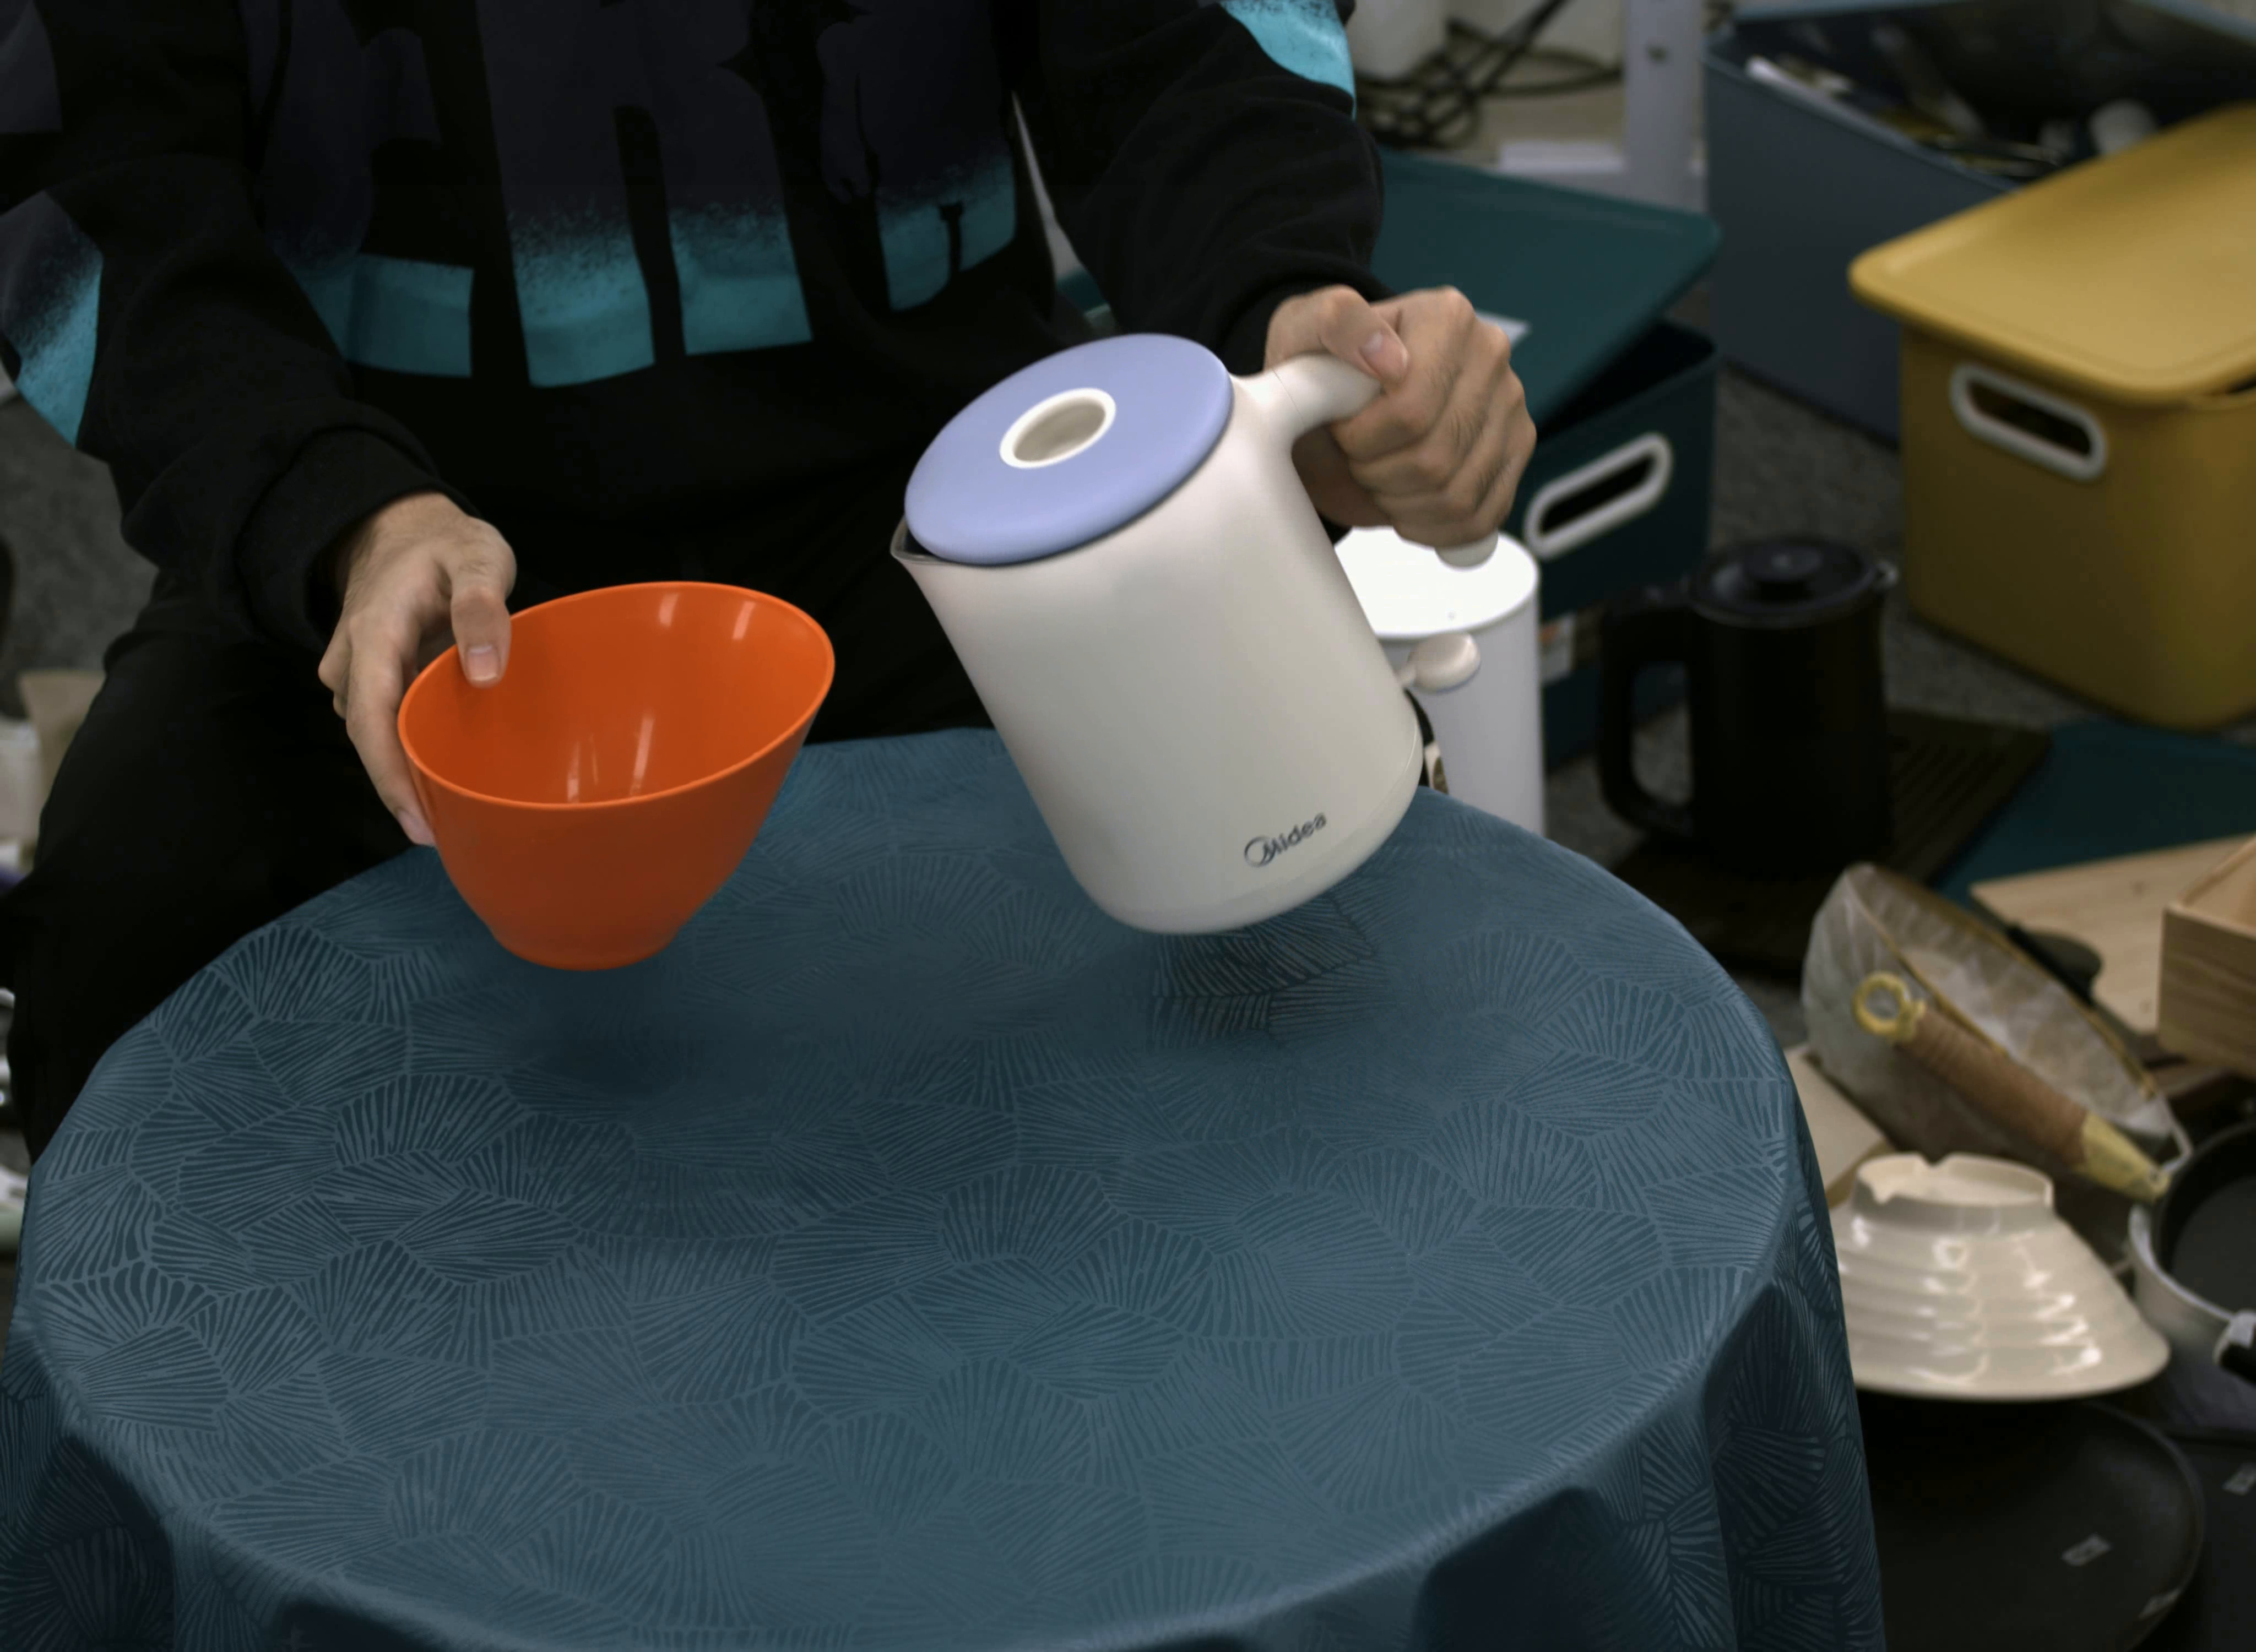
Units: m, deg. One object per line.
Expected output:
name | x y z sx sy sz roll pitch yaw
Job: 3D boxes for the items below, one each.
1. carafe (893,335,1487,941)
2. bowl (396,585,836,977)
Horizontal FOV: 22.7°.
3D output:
carafe | 0.032 -0.075 1.918 0.191 0.180 0.133 -28 33 -7
bowl | -0.174 -0.009 1.909 0.147 0.103 0.150 3 30 -2
